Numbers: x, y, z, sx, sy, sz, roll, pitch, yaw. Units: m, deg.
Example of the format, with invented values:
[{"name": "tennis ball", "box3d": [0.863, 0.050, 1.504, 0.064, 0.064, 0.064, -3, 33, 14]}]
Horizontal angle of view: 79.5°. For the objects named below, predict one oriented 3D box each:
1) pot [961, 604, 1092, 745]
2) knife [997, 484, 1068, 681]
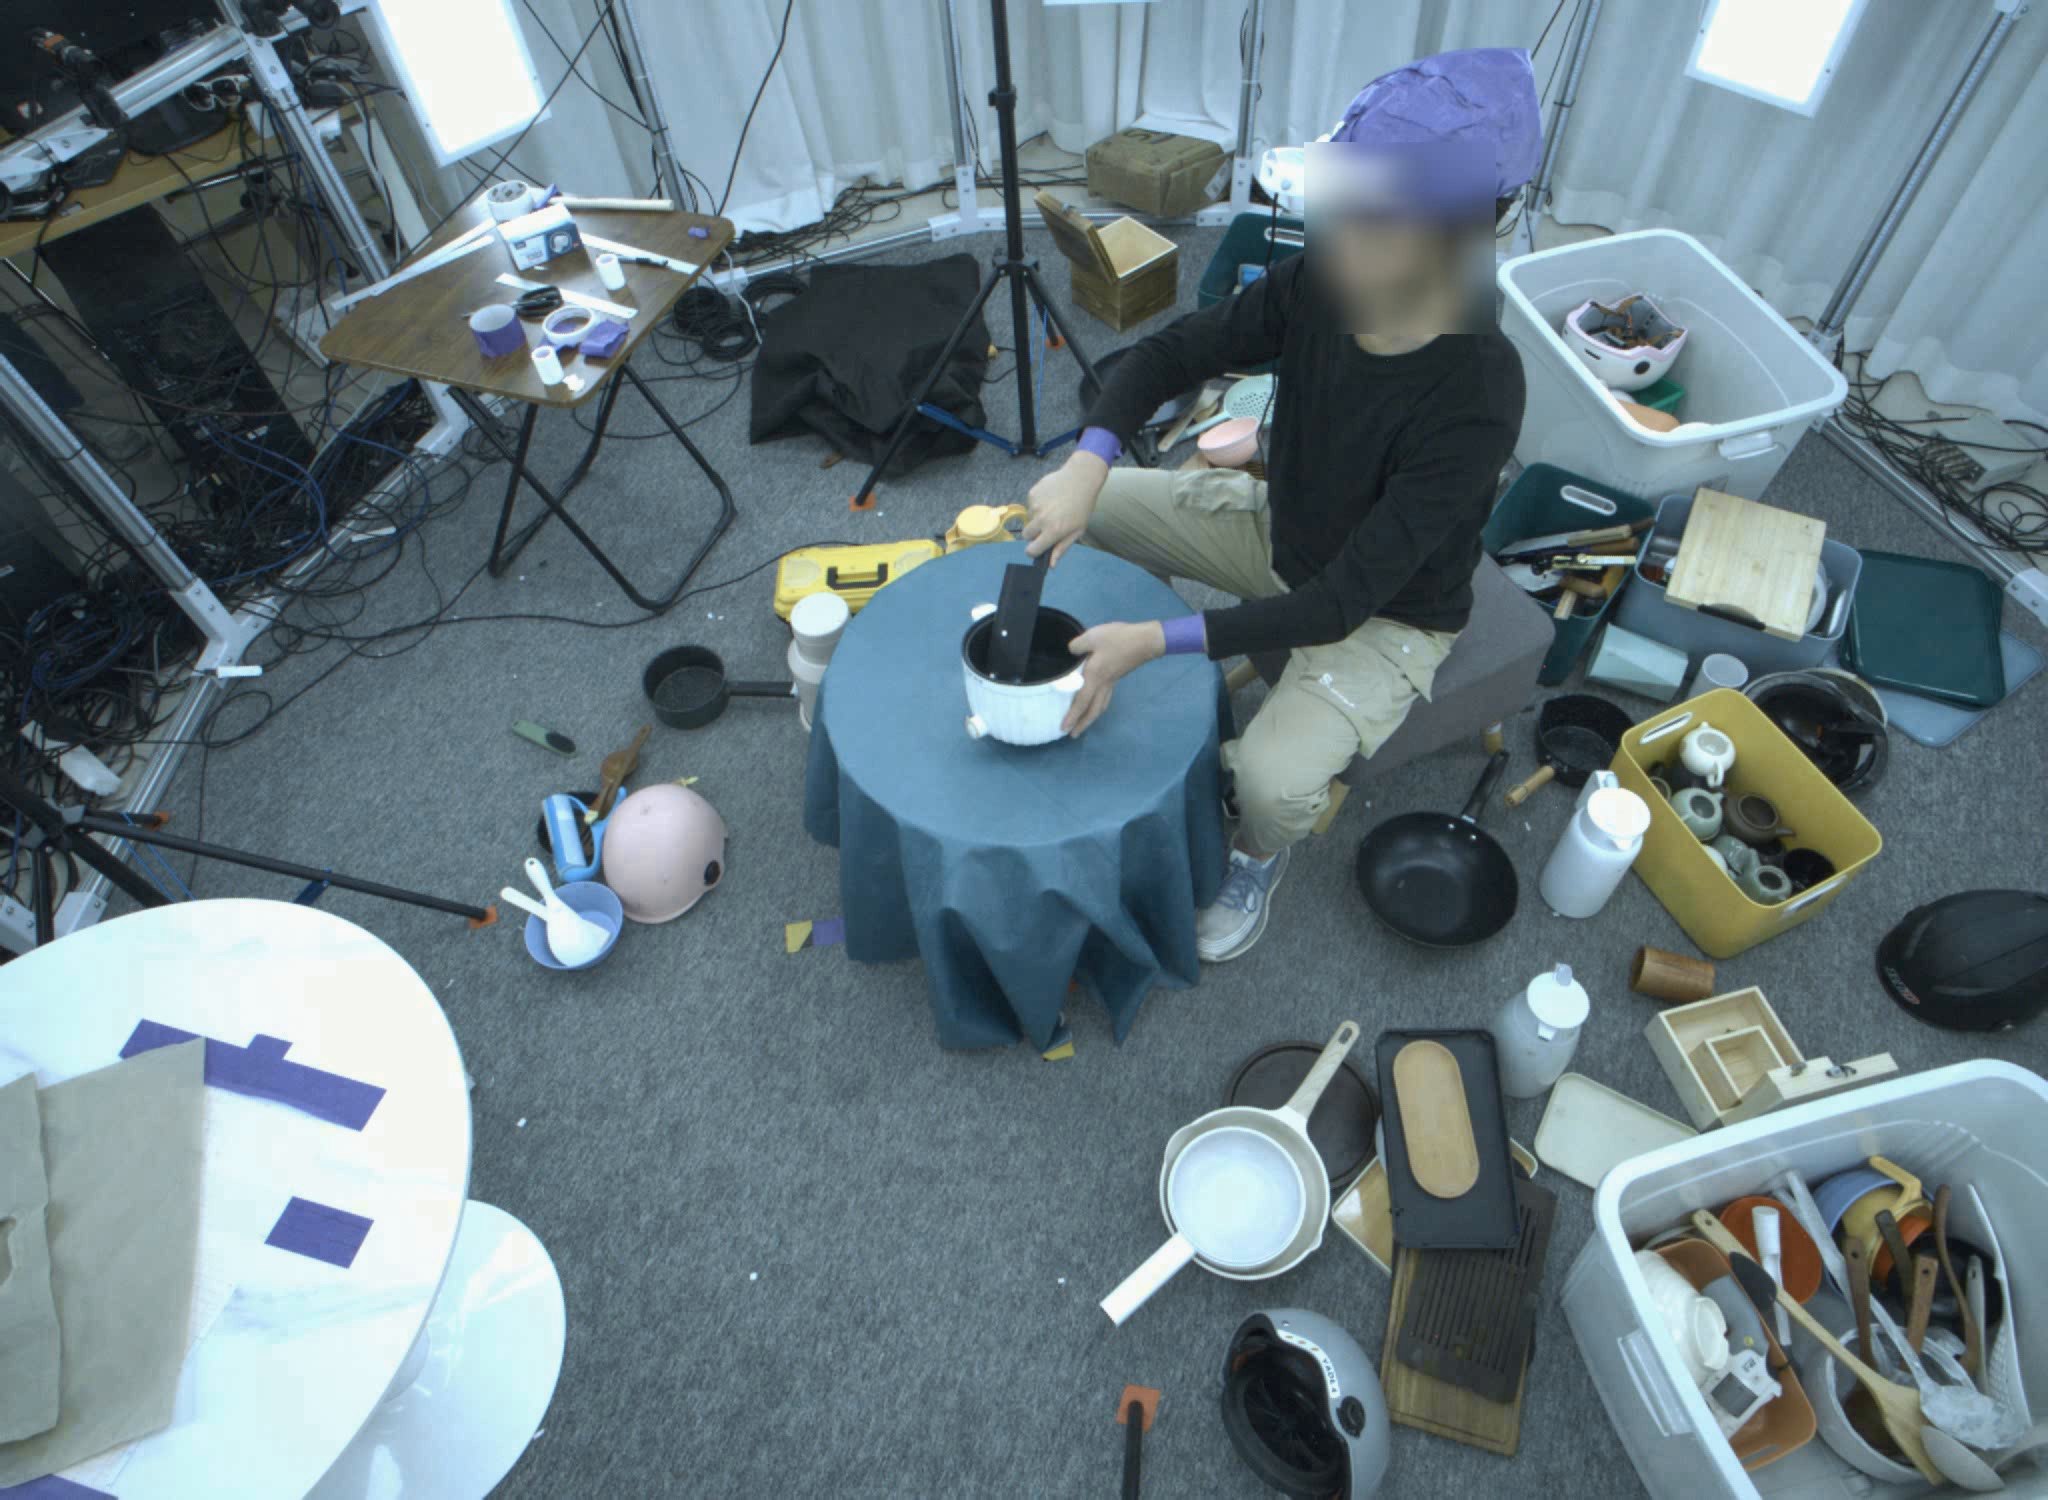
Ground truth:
[{"name": "pot", "box3d": [0.001, -0.098, 1.755, 0.193, 0.144, 0.235, -26, 47, -27]}, {"name": "knife", "box3d": [0.009, -0.229, 1.738, 0.079, 0.021, 0.302, 16, 93, 26]}]
